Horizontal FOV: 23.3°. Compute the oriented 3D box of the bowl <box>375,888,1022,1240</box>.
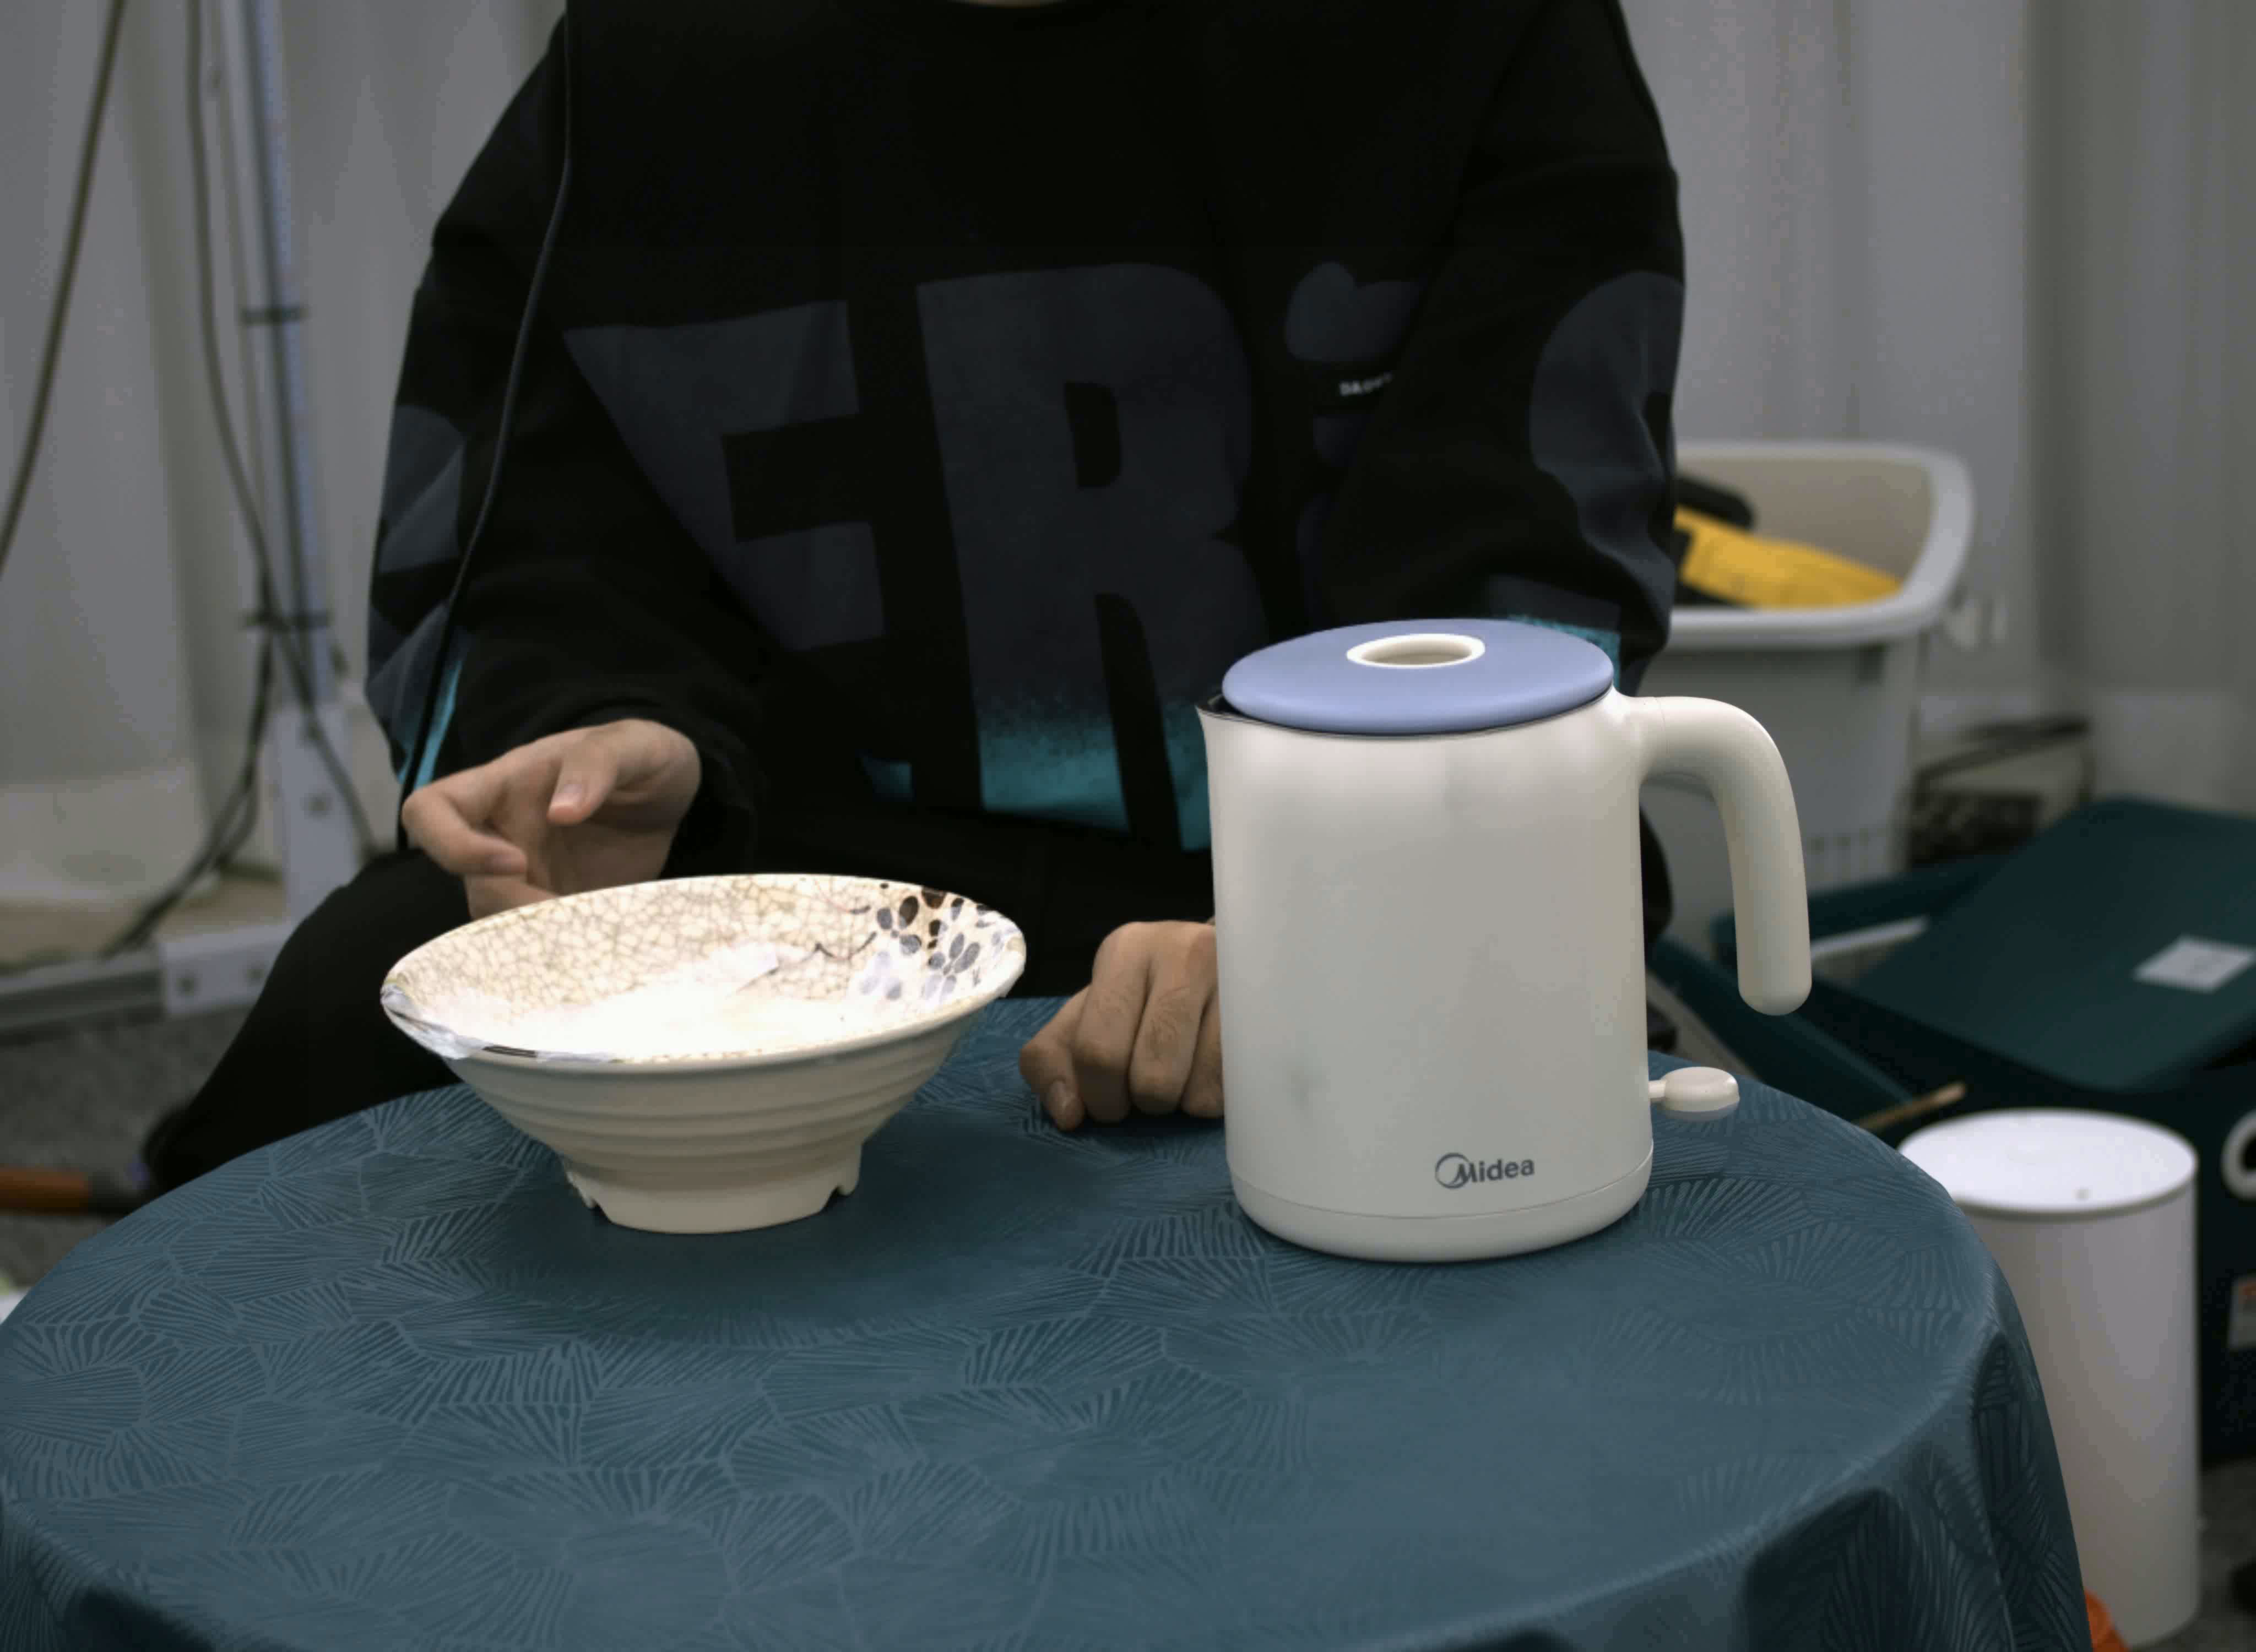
[{"bbox_3d":[-0.133,0.081,1.724,0.203,0.078,0.205,-2,13,0],"label":"bowl"}]

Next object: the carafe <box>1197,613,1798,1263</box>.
[{"bbox_3d":[0.115,0.032,1.675,0.190,0.182,0.133,-3,15,-11],"label":"carafe"}]
